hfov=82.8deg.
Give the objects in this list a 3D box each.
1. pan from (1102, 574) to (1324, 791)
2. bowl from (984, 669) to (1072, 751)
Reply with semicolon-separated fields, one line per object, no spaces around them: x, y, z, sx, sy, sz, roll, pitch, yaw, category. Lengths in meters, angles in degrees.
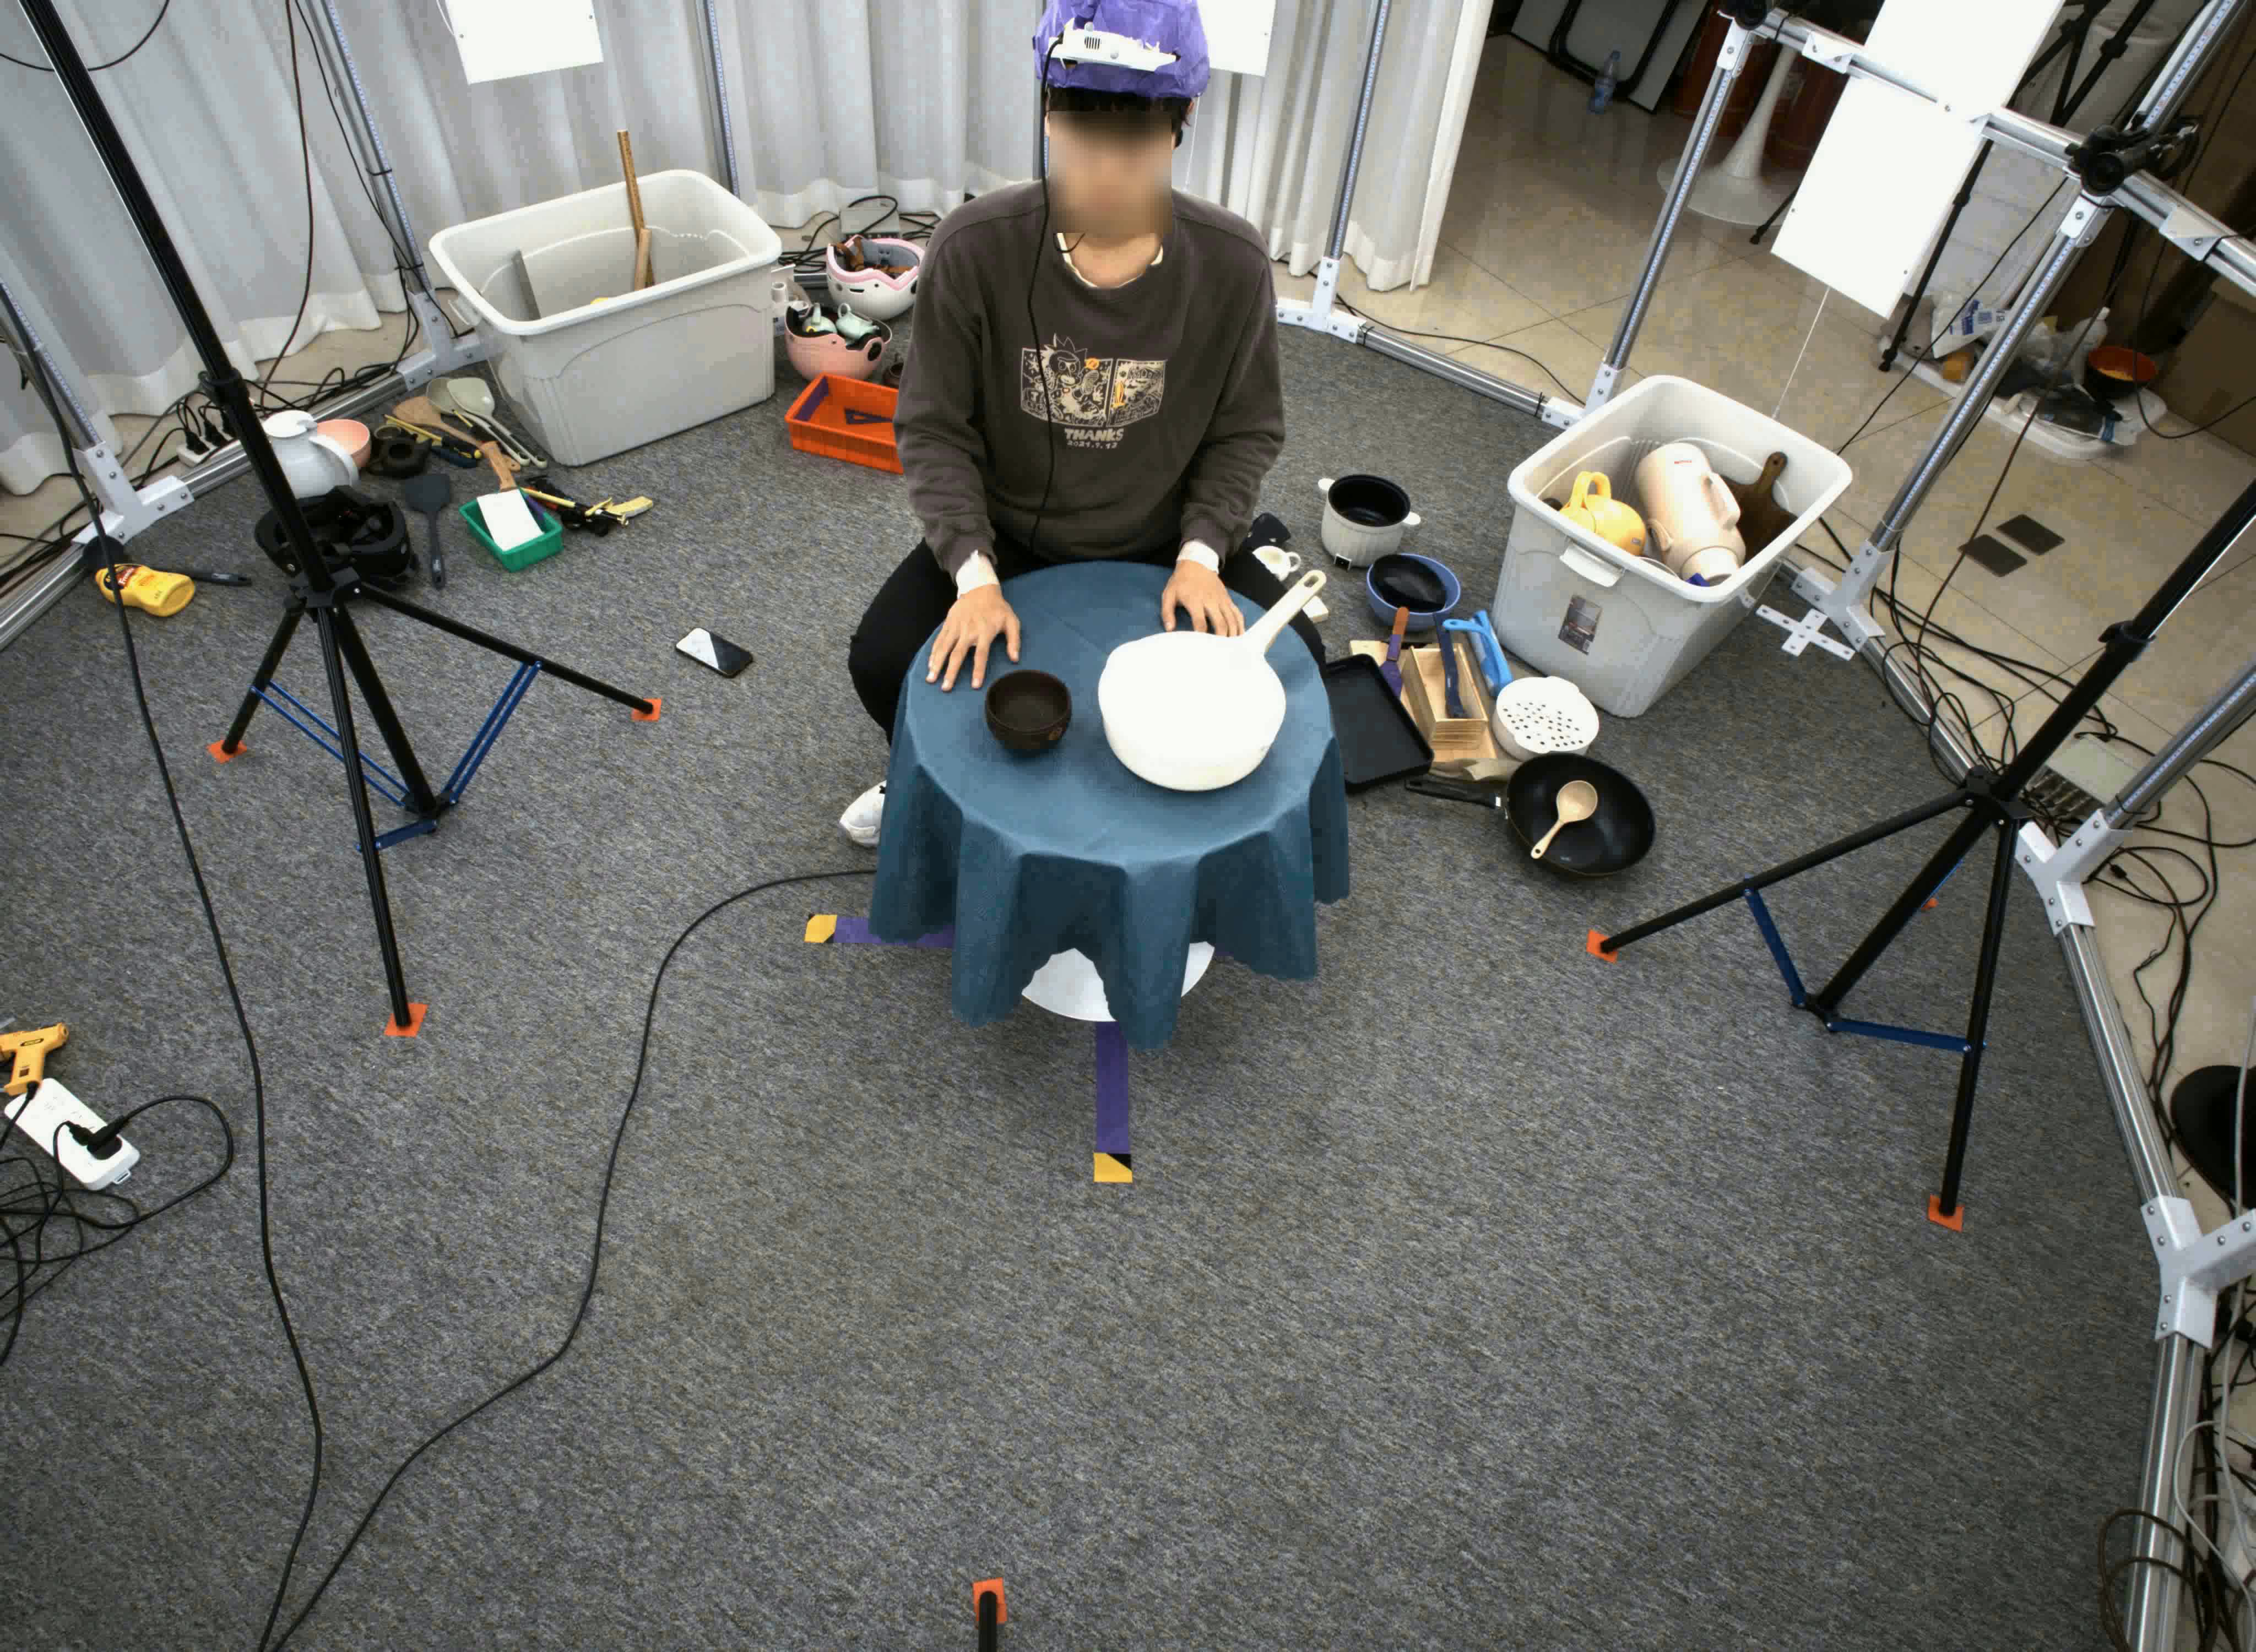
0.146;-0.206;1.791;0.266;0.099;0.440;31;54;24;pan
-0.135;-0.149;1.740;0.118;0.068;0.121;1;48;-1;bowl
